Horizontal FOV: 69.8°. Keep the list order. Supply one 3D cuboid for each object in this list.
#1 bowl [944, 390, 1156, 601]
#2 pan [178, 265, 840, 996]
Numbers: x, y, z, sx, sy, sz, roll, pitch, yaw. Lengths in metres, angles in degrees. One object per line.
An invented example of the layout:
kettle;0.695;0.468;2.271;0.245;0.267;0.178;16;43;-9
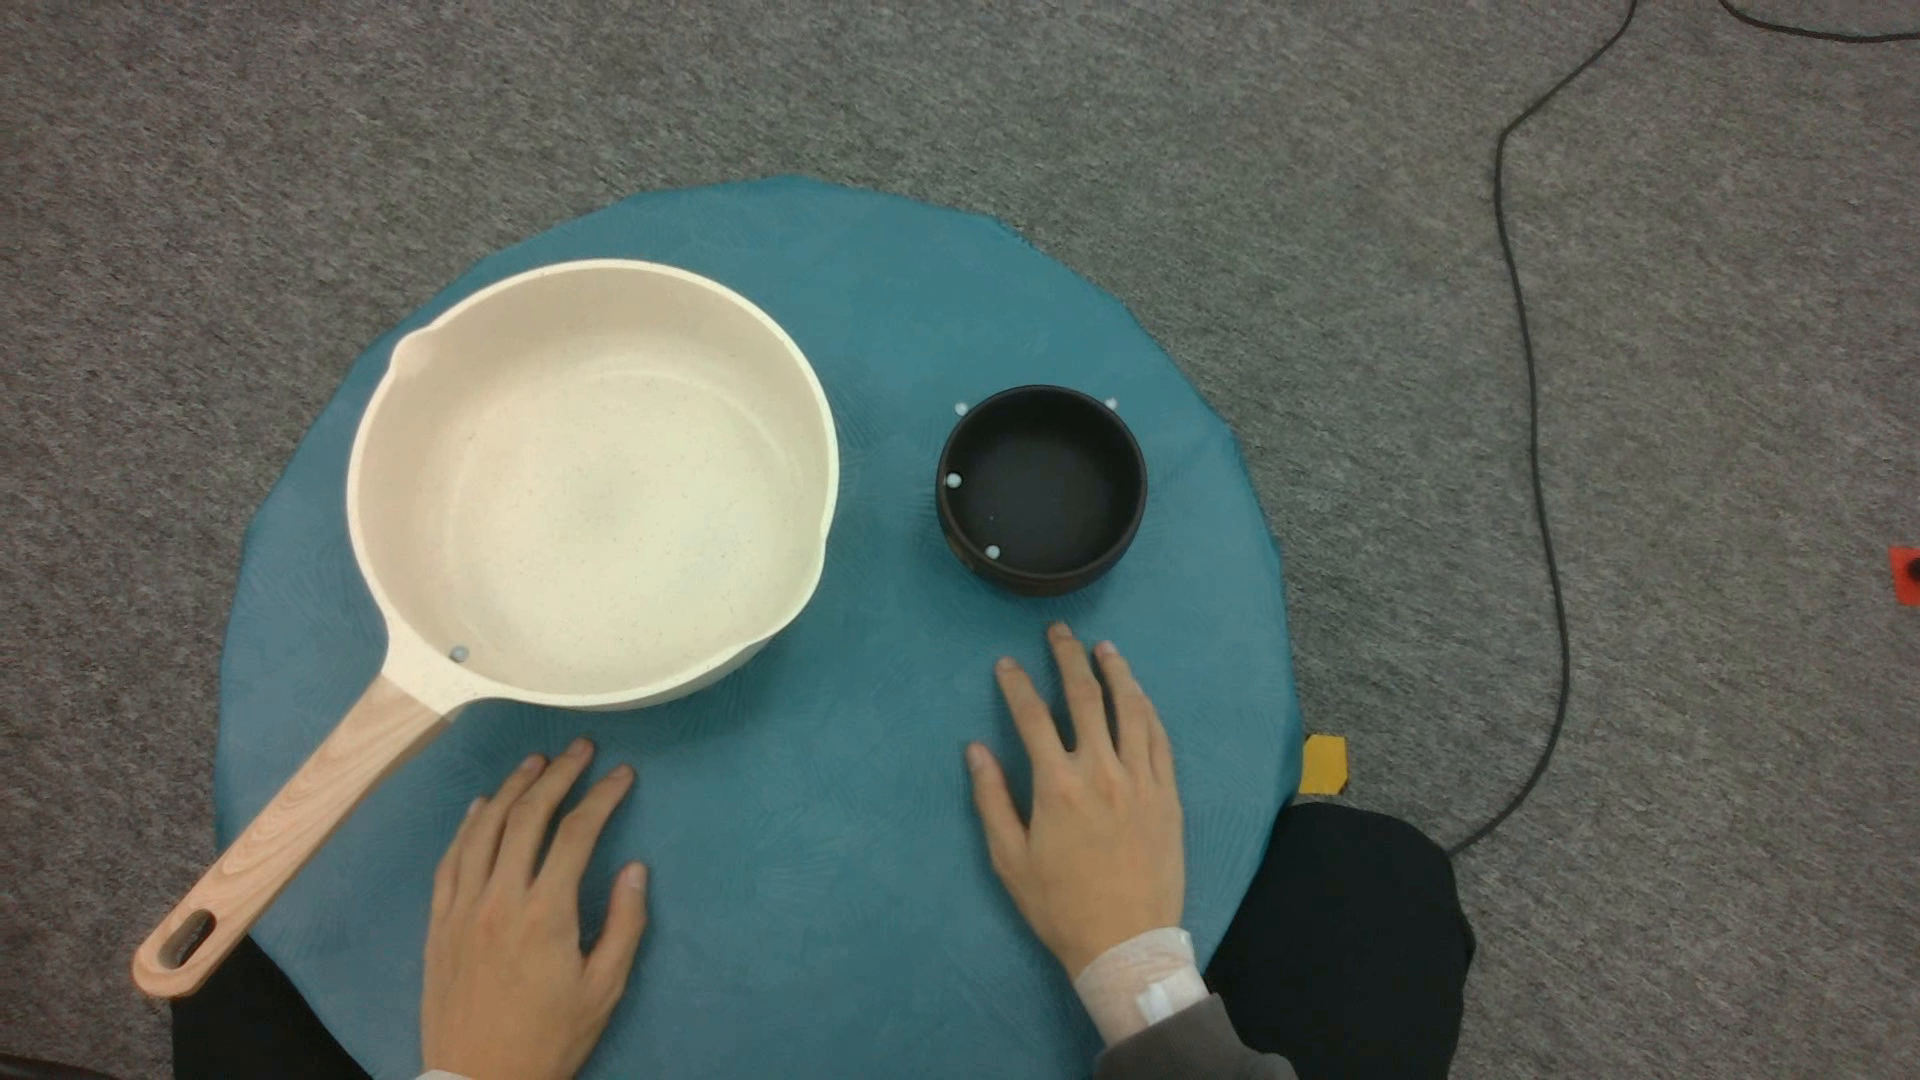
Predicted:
bowl;0.049;-0.020;0.788;0.118;0.069;0.118;1;71;-3
pan;-0.241;0.047;0.740;0.263;0.101;0.436;32;73;7
